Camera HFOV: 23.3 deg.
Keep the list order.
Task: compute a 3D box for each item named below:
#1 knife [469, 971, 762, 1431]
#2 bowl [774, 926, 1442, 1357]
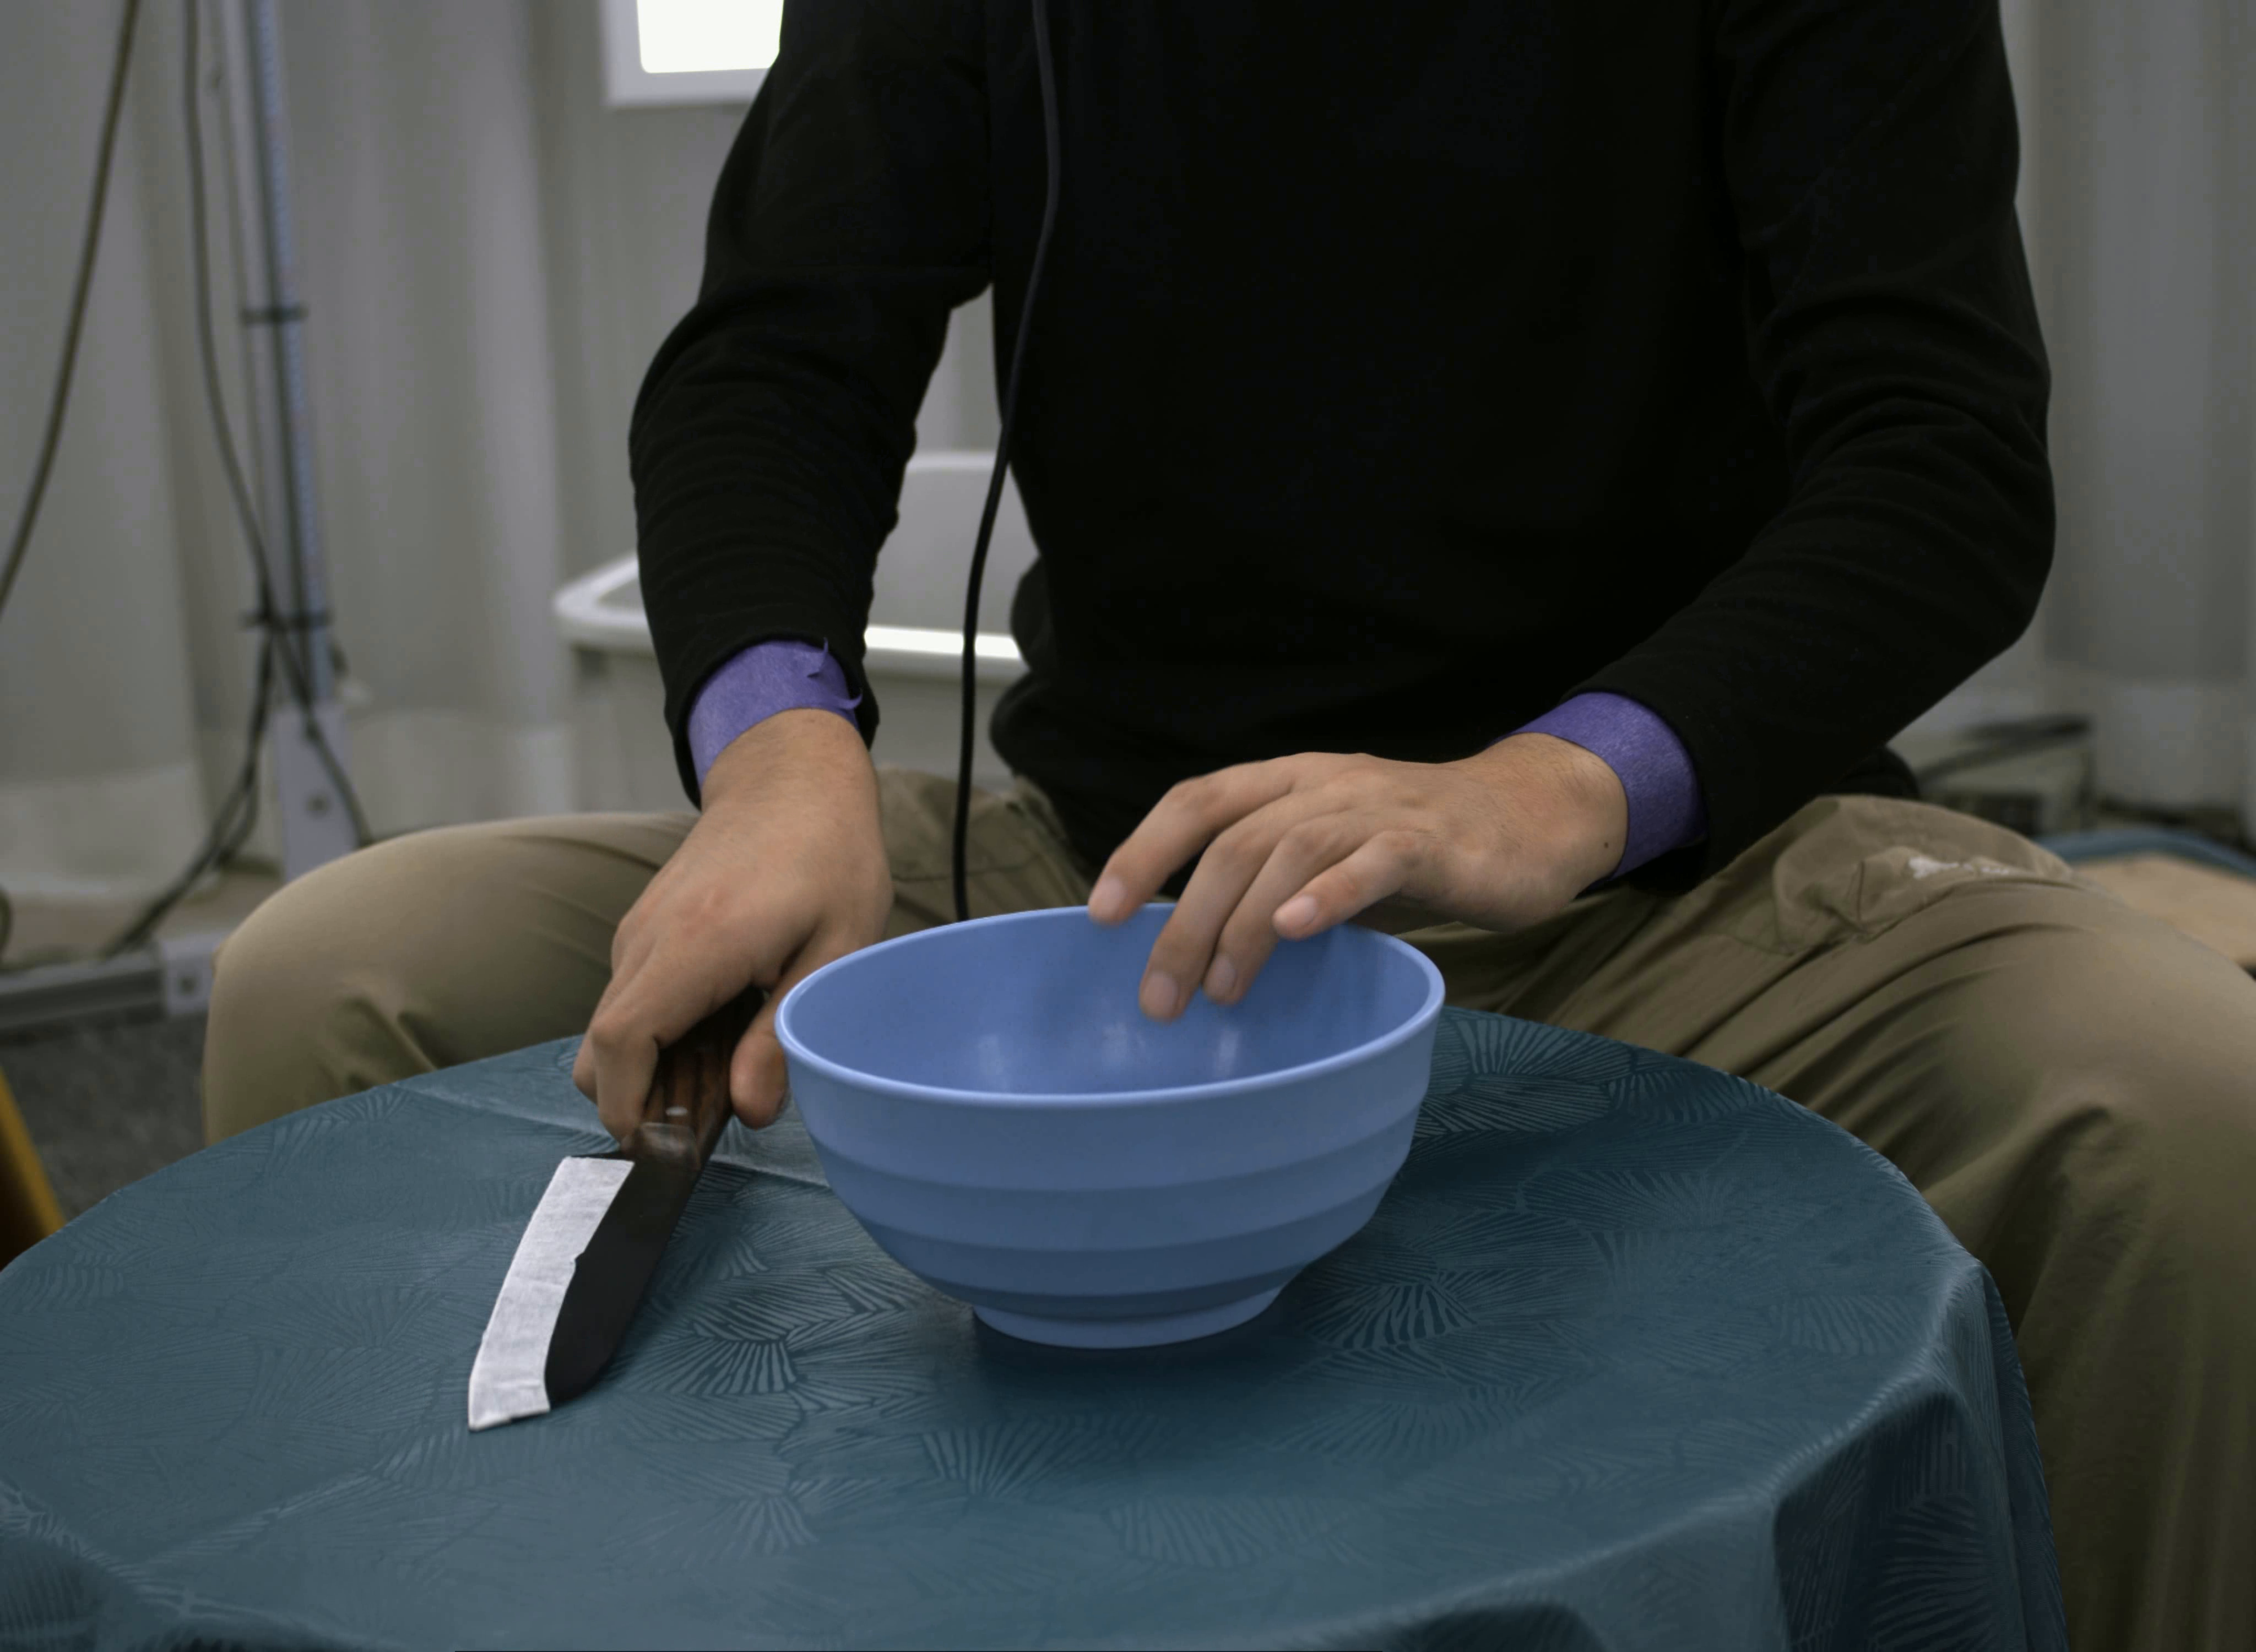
[{"bbox_3d":[-0.154,0.113,1.667,0.050,0.020,0.291,2,24,10],"label":"knife"},{"bbox_3d":[-0.004,0.097,1.609,0.196,0.095,0.197,-3,12,0],"label":"bowl"}]
